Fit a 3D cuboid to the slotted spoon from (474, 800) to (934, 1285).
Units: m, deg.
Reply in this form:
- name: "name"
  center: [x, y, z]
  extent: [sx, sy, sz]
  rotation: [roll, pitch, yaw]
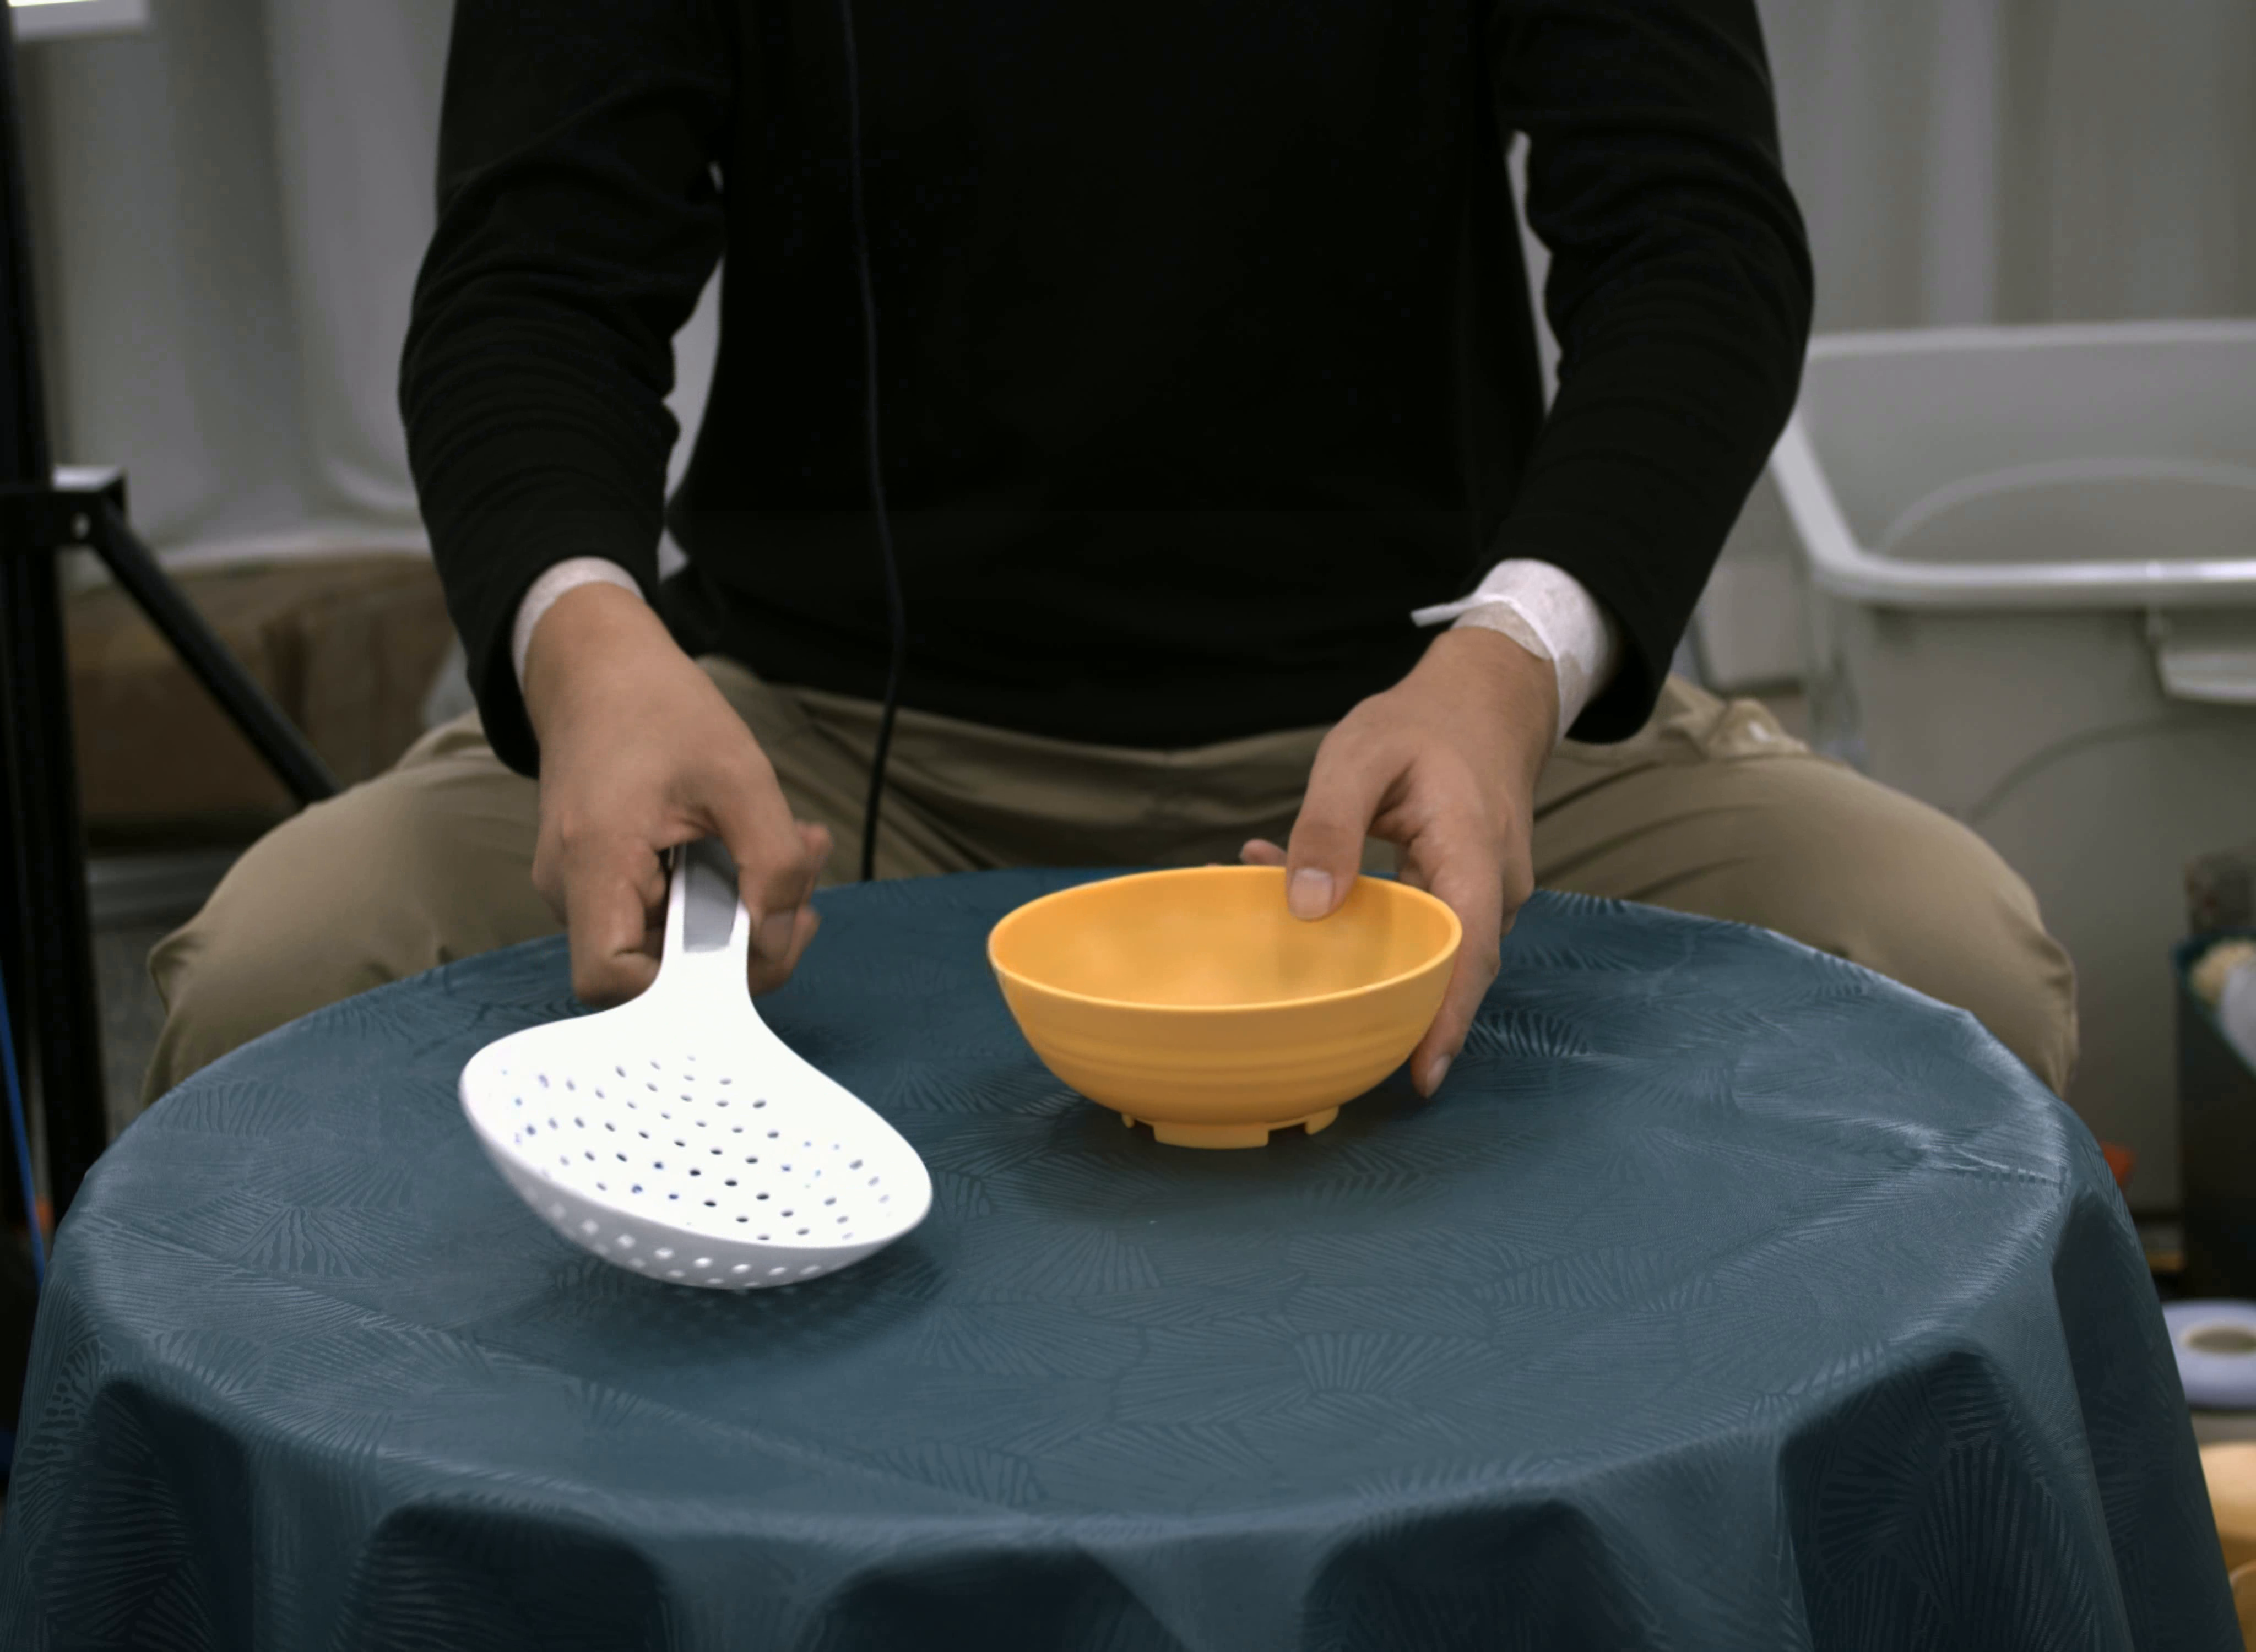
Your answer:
- name: "slotted spoon"
  center: [-0.128, 0.056, 1.604]
  extent: [0.134, 0.046, 0.352]
  rotation: [16, 22, -9]

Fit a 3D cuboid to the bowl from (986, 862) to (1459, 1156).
- name: "bowl"
  center: [0.029, 0.061, 1.616]
  extent: [0.144, 0.060, 0.146]
  rotation: [-2, 17, -1]
